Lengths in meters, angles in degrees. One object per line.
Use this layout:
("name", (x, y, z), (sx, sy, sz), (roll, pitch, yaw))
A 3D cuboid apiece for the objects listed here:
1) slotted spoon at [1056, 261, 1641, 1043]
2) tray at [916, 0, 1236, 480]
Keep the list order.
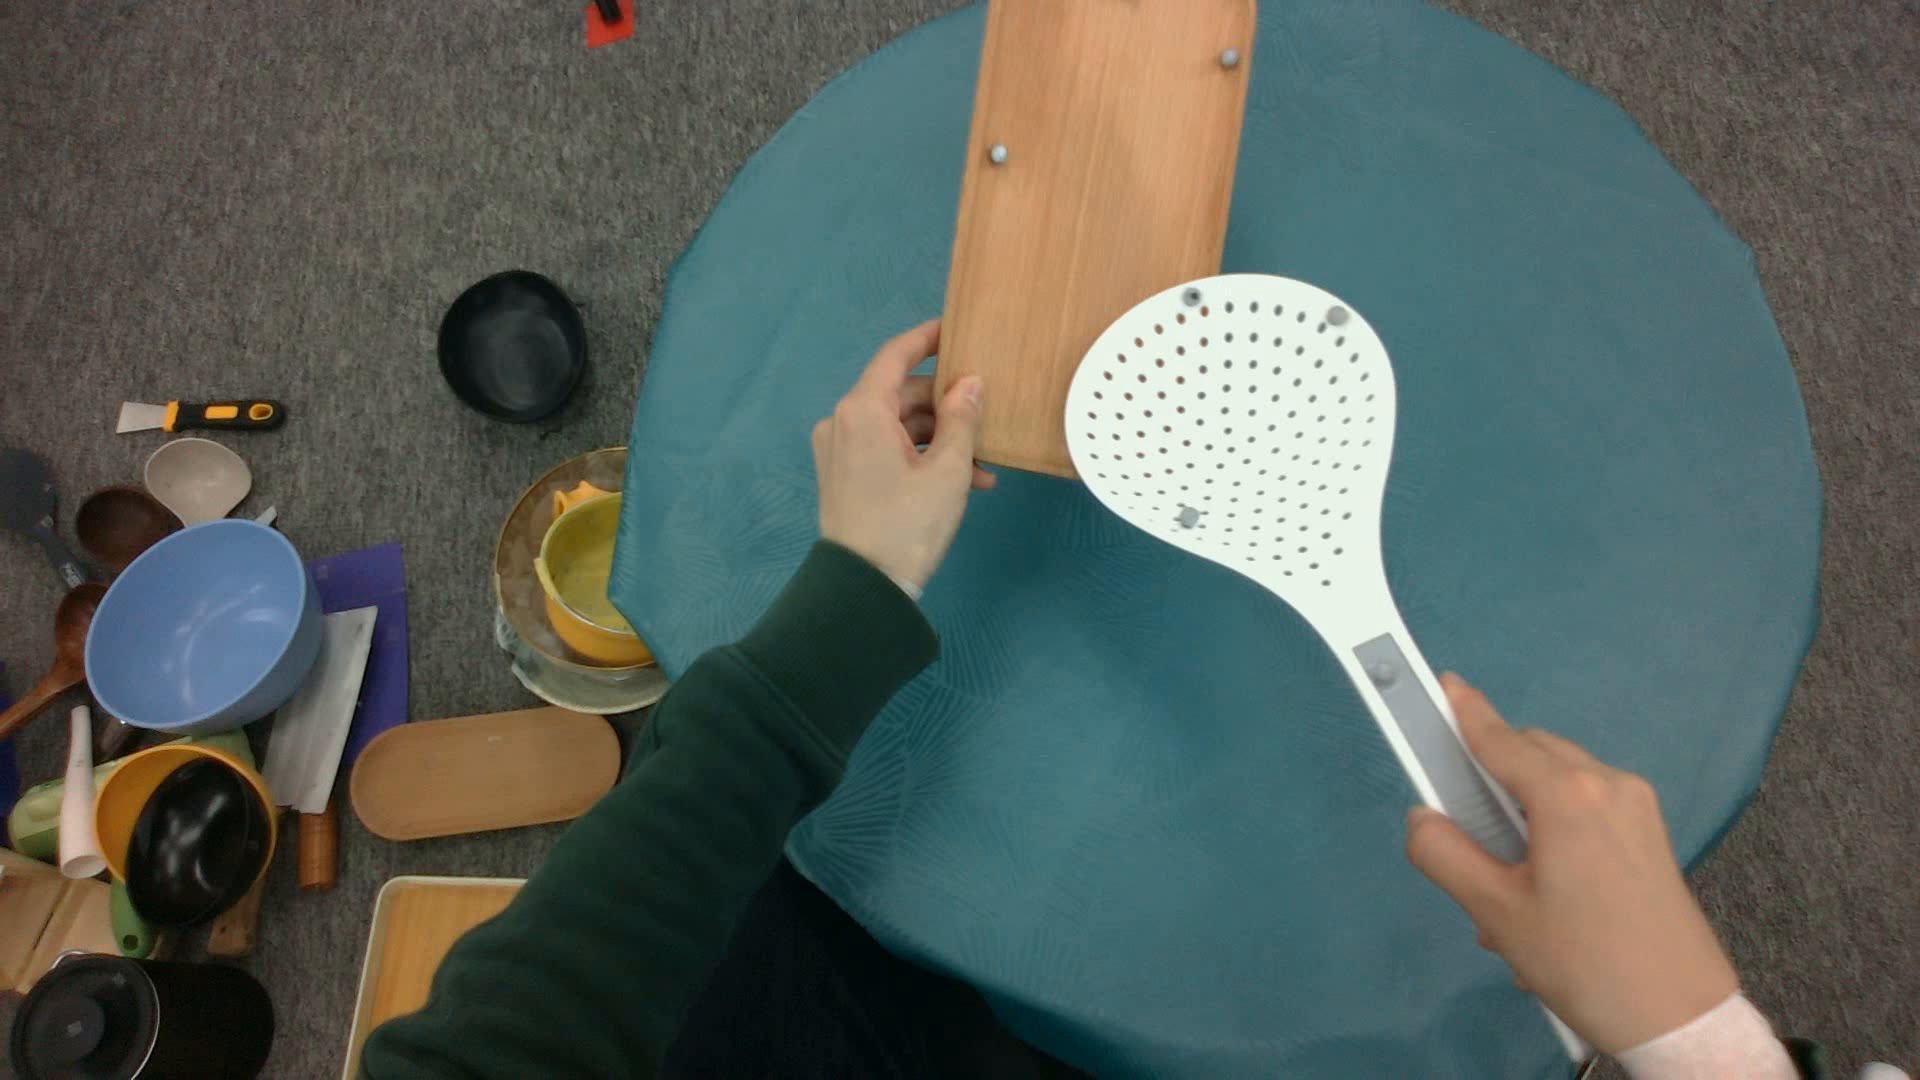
("slotted spoon", (0.147, 0.022, 0.533), (0.136, 0.045, 0.351), (-26, 53, 2))
("tray", (0.054, -0.156, 0.623), (0.131, 0.023, 0.251), (10, 88, -17))
